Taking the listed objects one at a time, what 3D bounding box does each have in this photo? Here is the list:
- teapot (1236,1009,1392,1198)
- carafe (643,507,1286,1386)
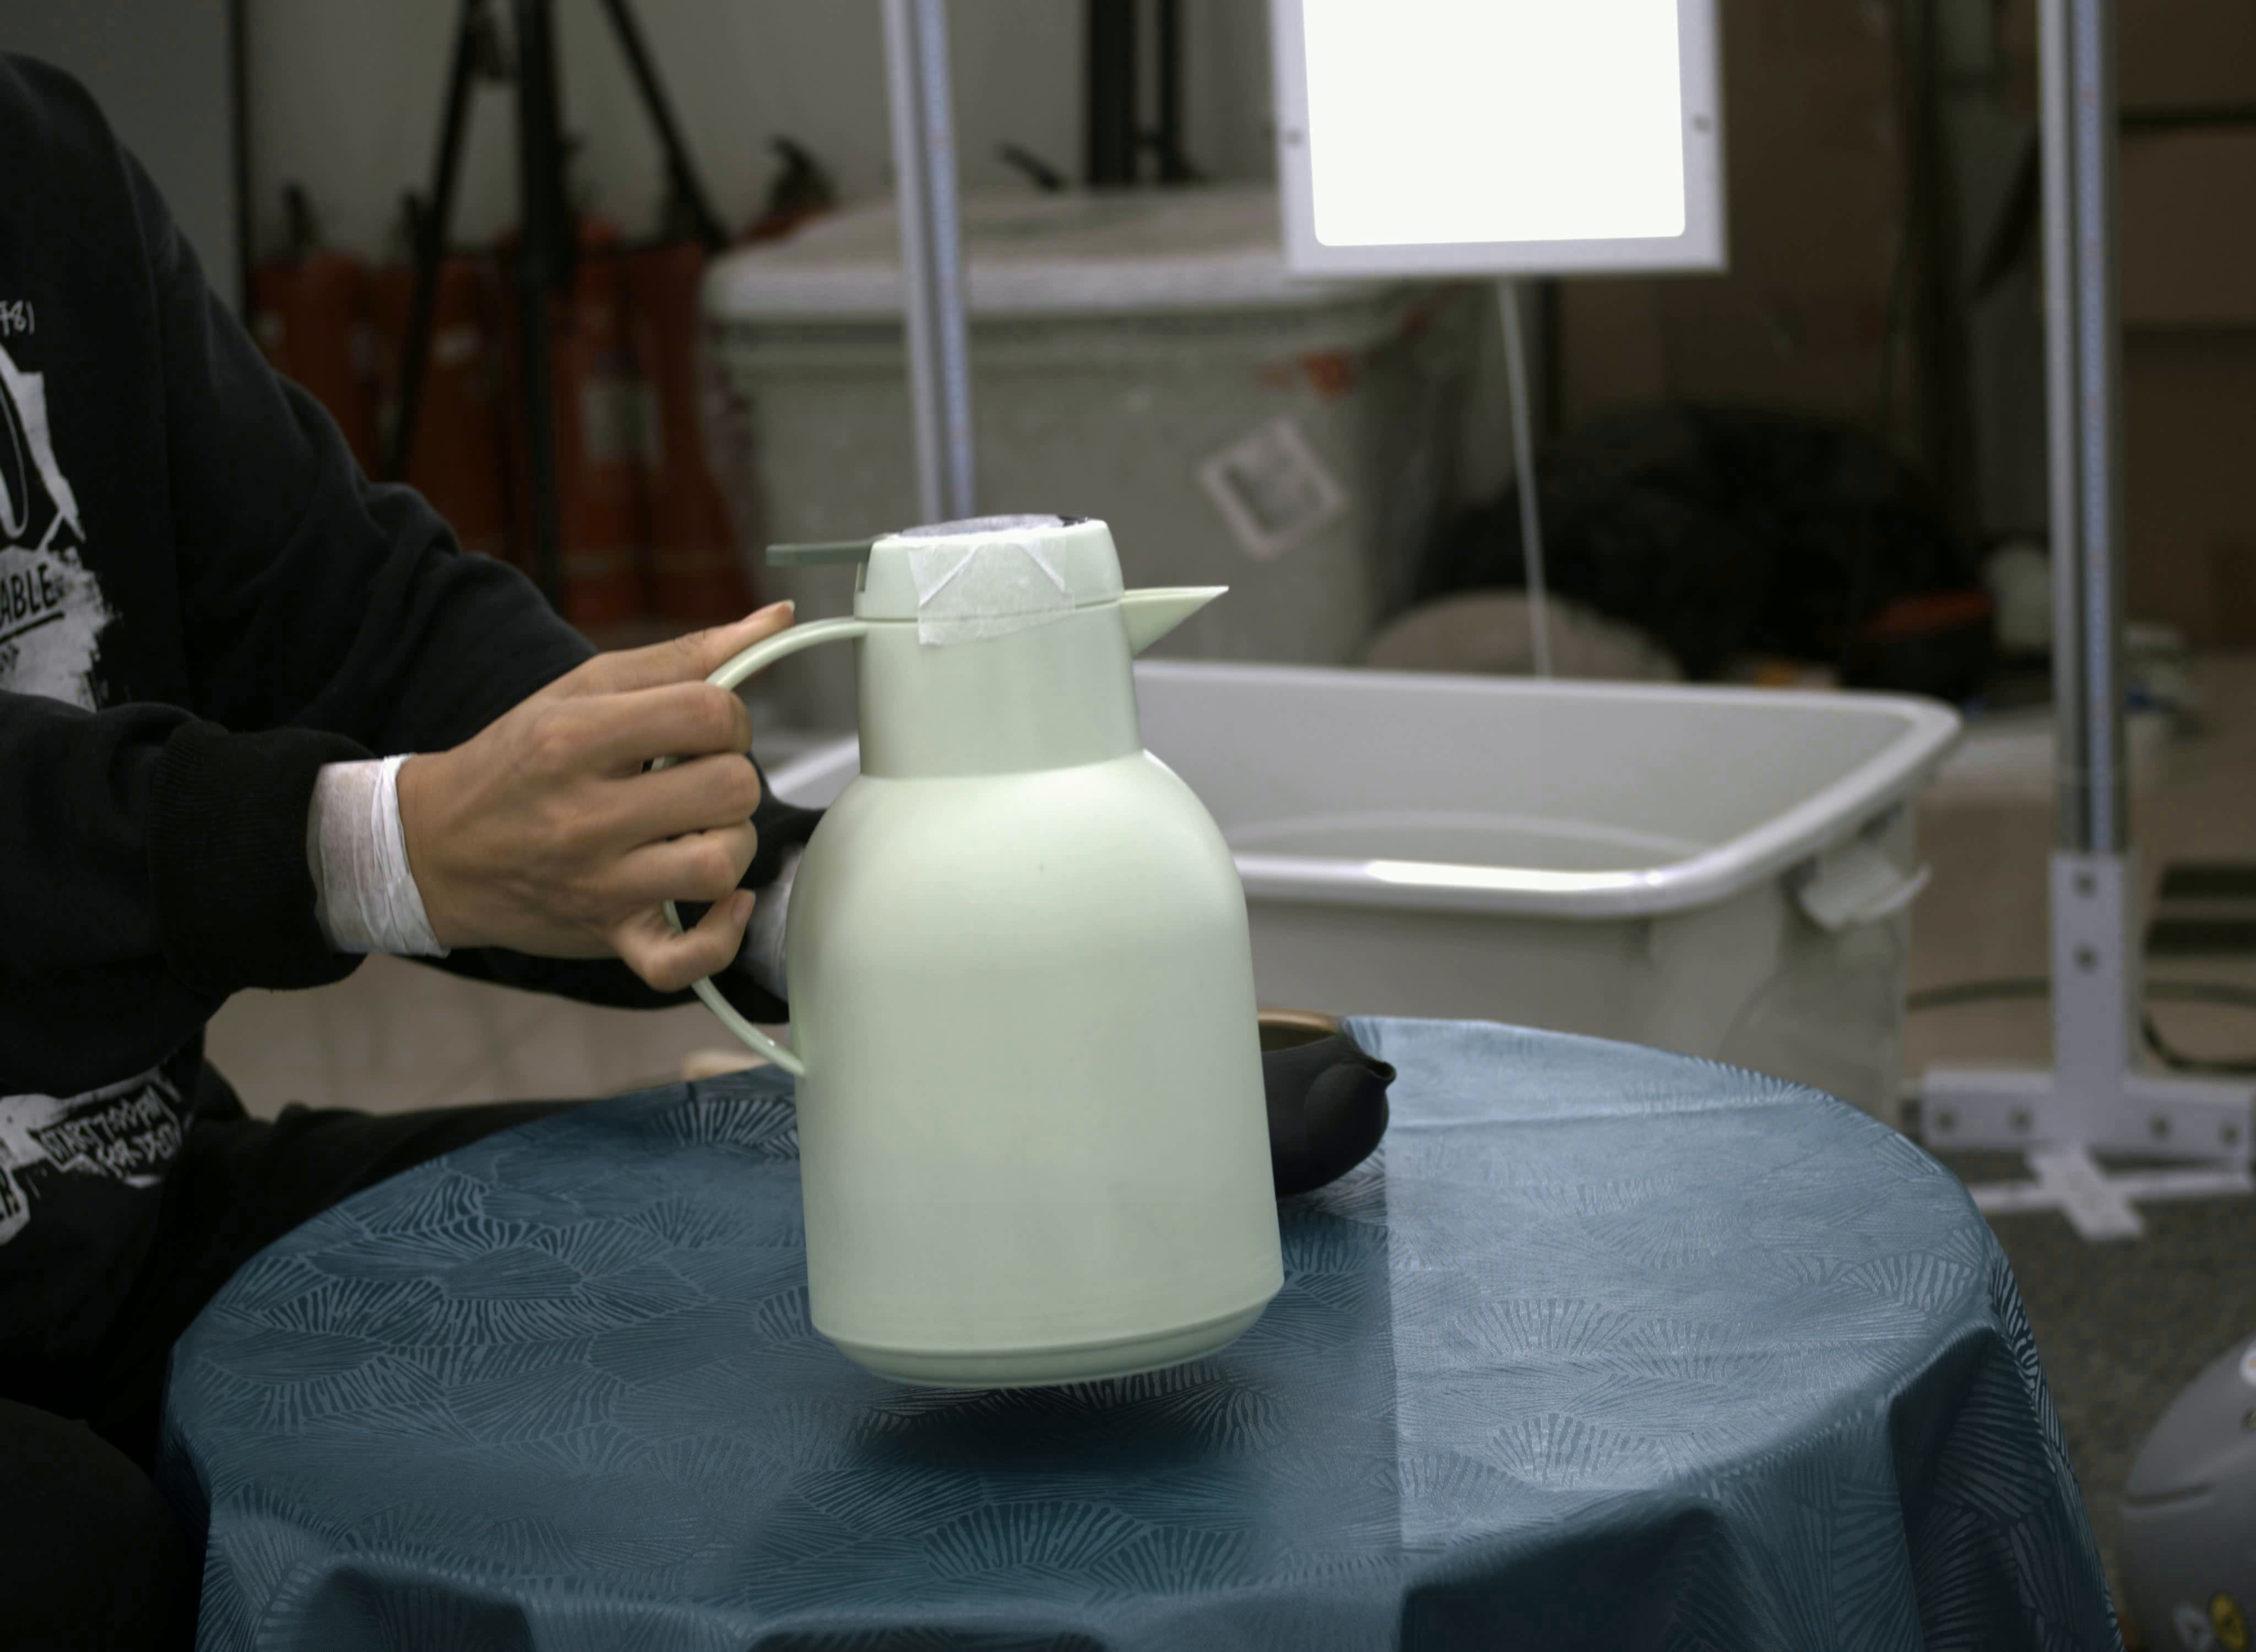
[{"bbox_3d":[0.042,0.094,1.876,0.088,0.053,0.136,-13,18,-40],"label":"teapot"},{"bbox_3d":[-0.048,0.035,1.668,0.185,0.257,0.145,-9,8,-9],"label":"carafe"}]
